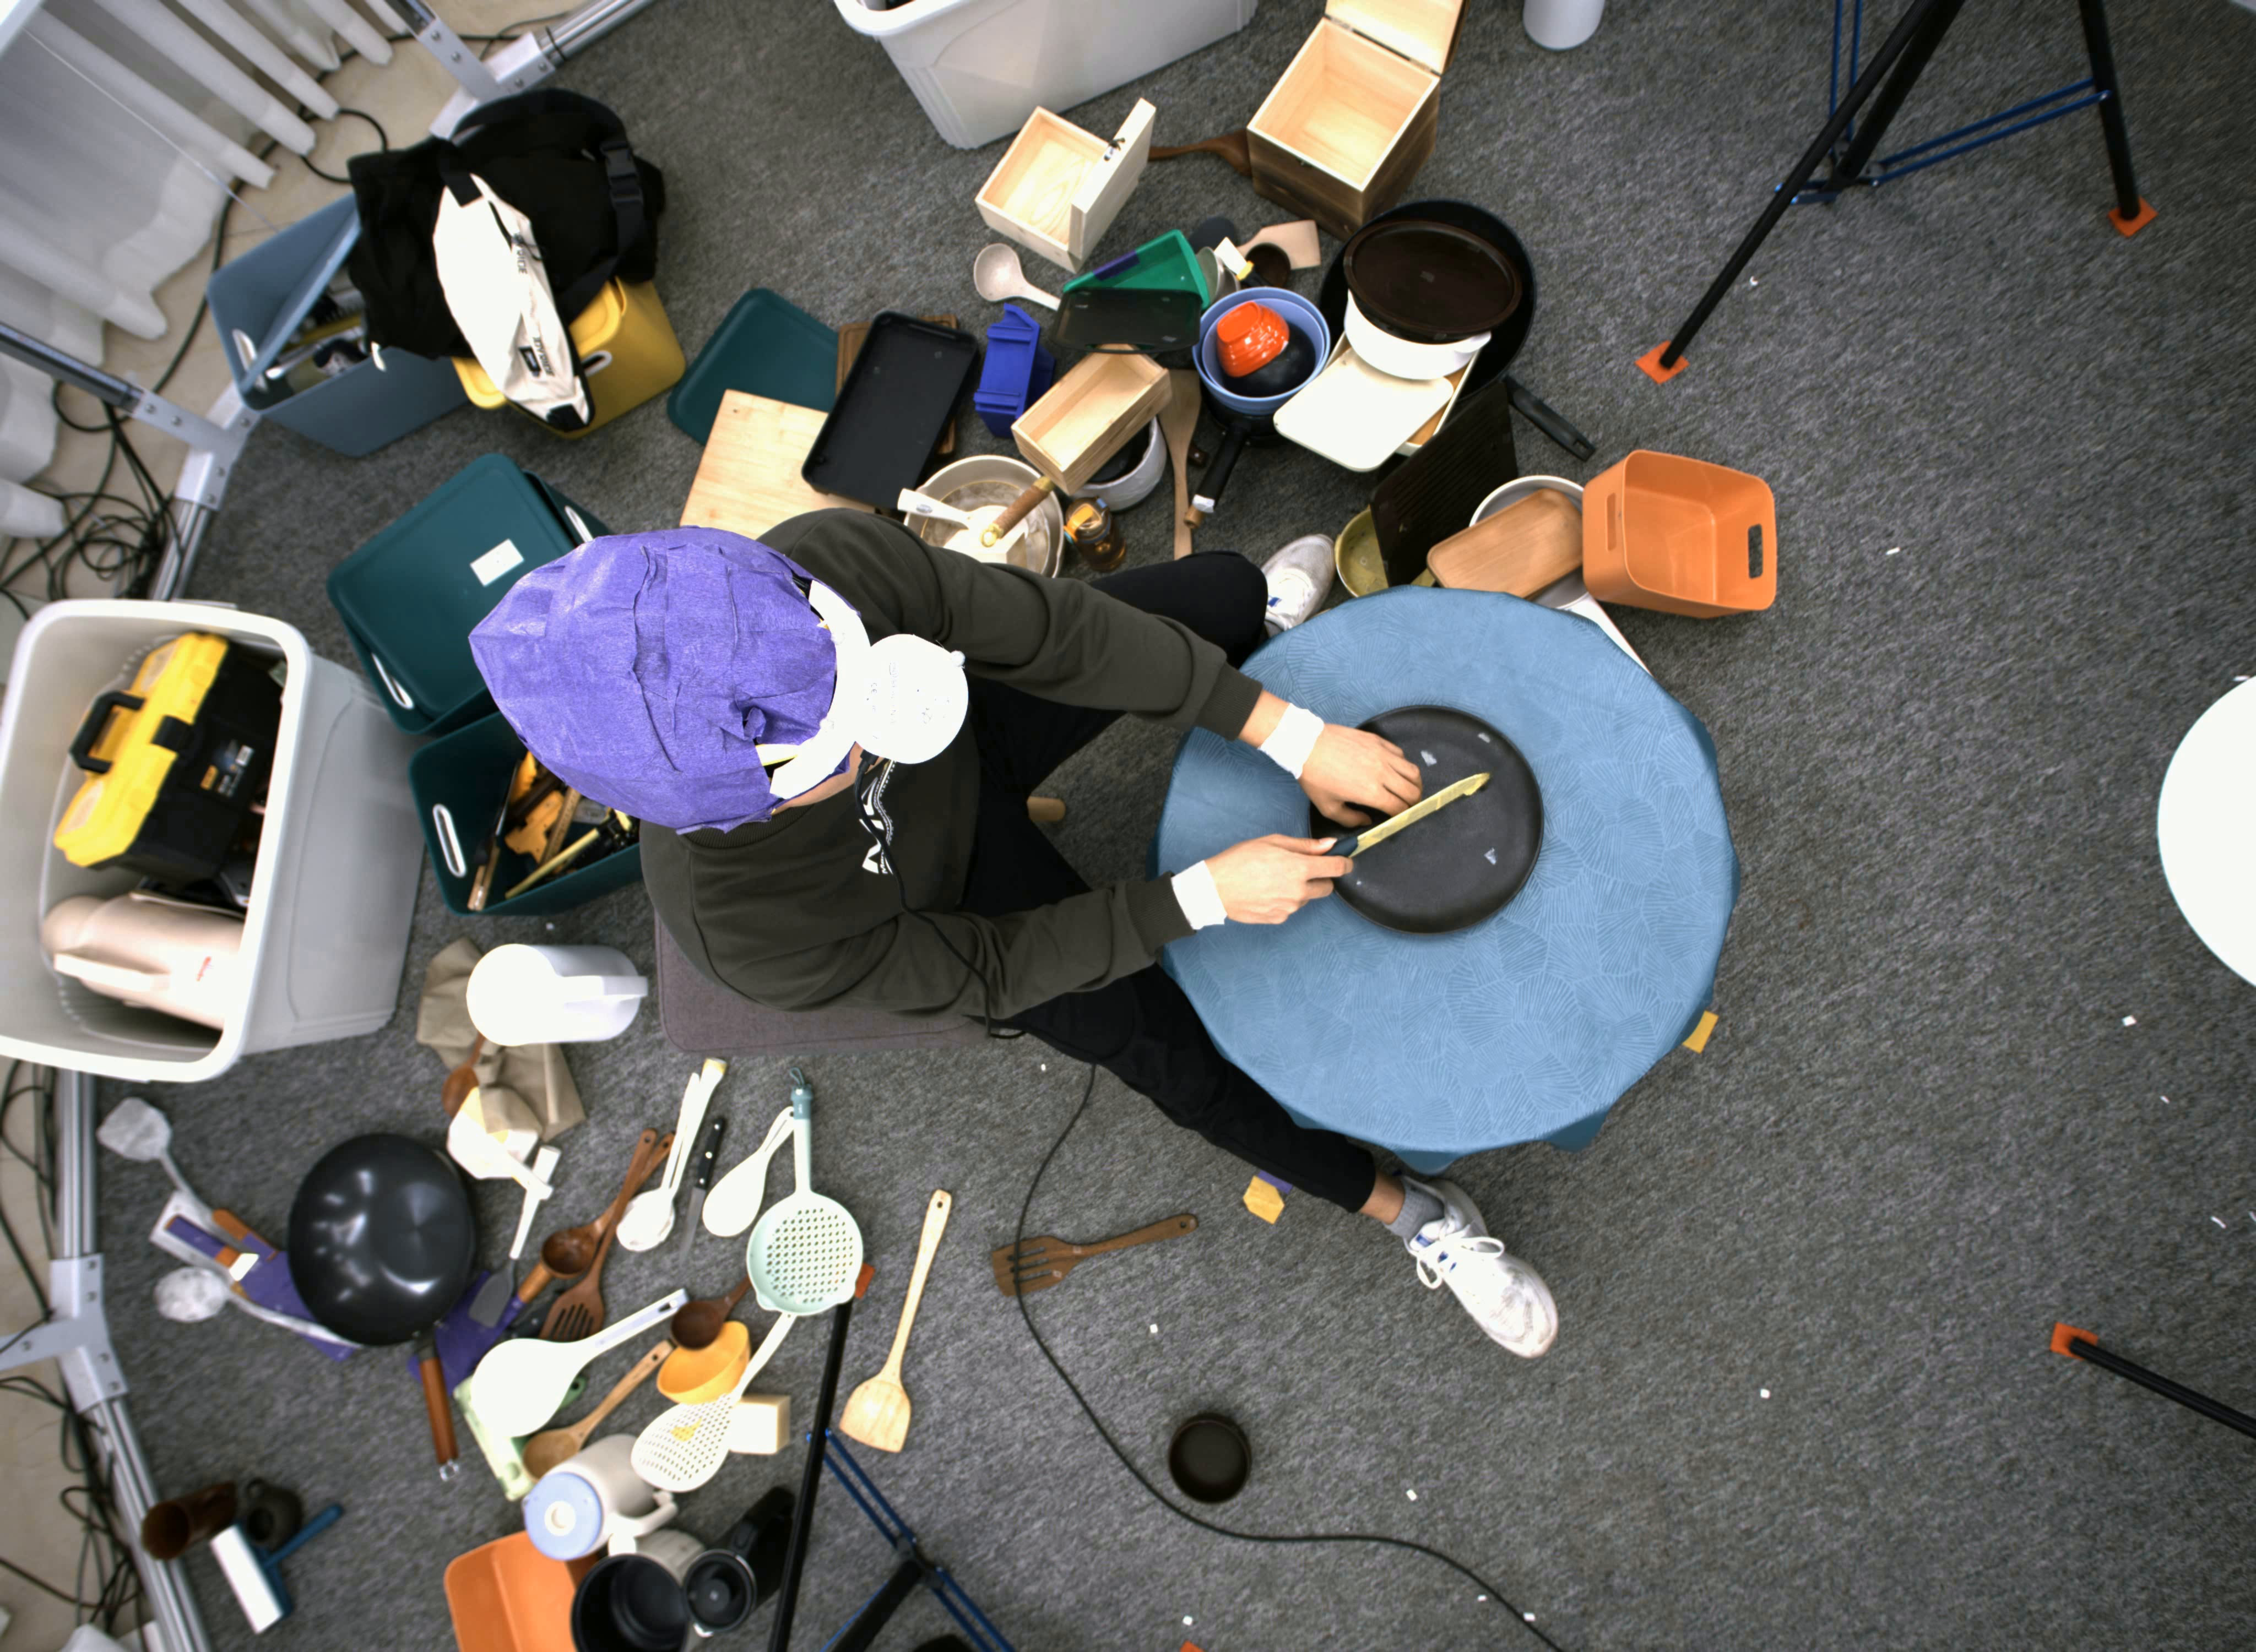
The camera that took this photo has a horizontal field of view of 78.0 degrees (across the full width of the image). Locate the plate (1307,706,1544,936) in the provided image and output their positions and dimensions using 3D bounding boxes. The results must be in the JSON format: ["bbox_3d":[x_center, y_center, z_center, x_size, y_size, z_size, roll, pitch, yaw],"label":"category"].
[{"bbox_3d":[0.311,-0.007,1.445,0.245,0.023,0.243,-1,86,11],"label":"plate"}]

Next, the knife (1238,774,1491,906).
[{"bbox_3d":[0.245,0.011,1.419,0.290,0.082,0.027,-27,73,4],"label":"knife"}]
